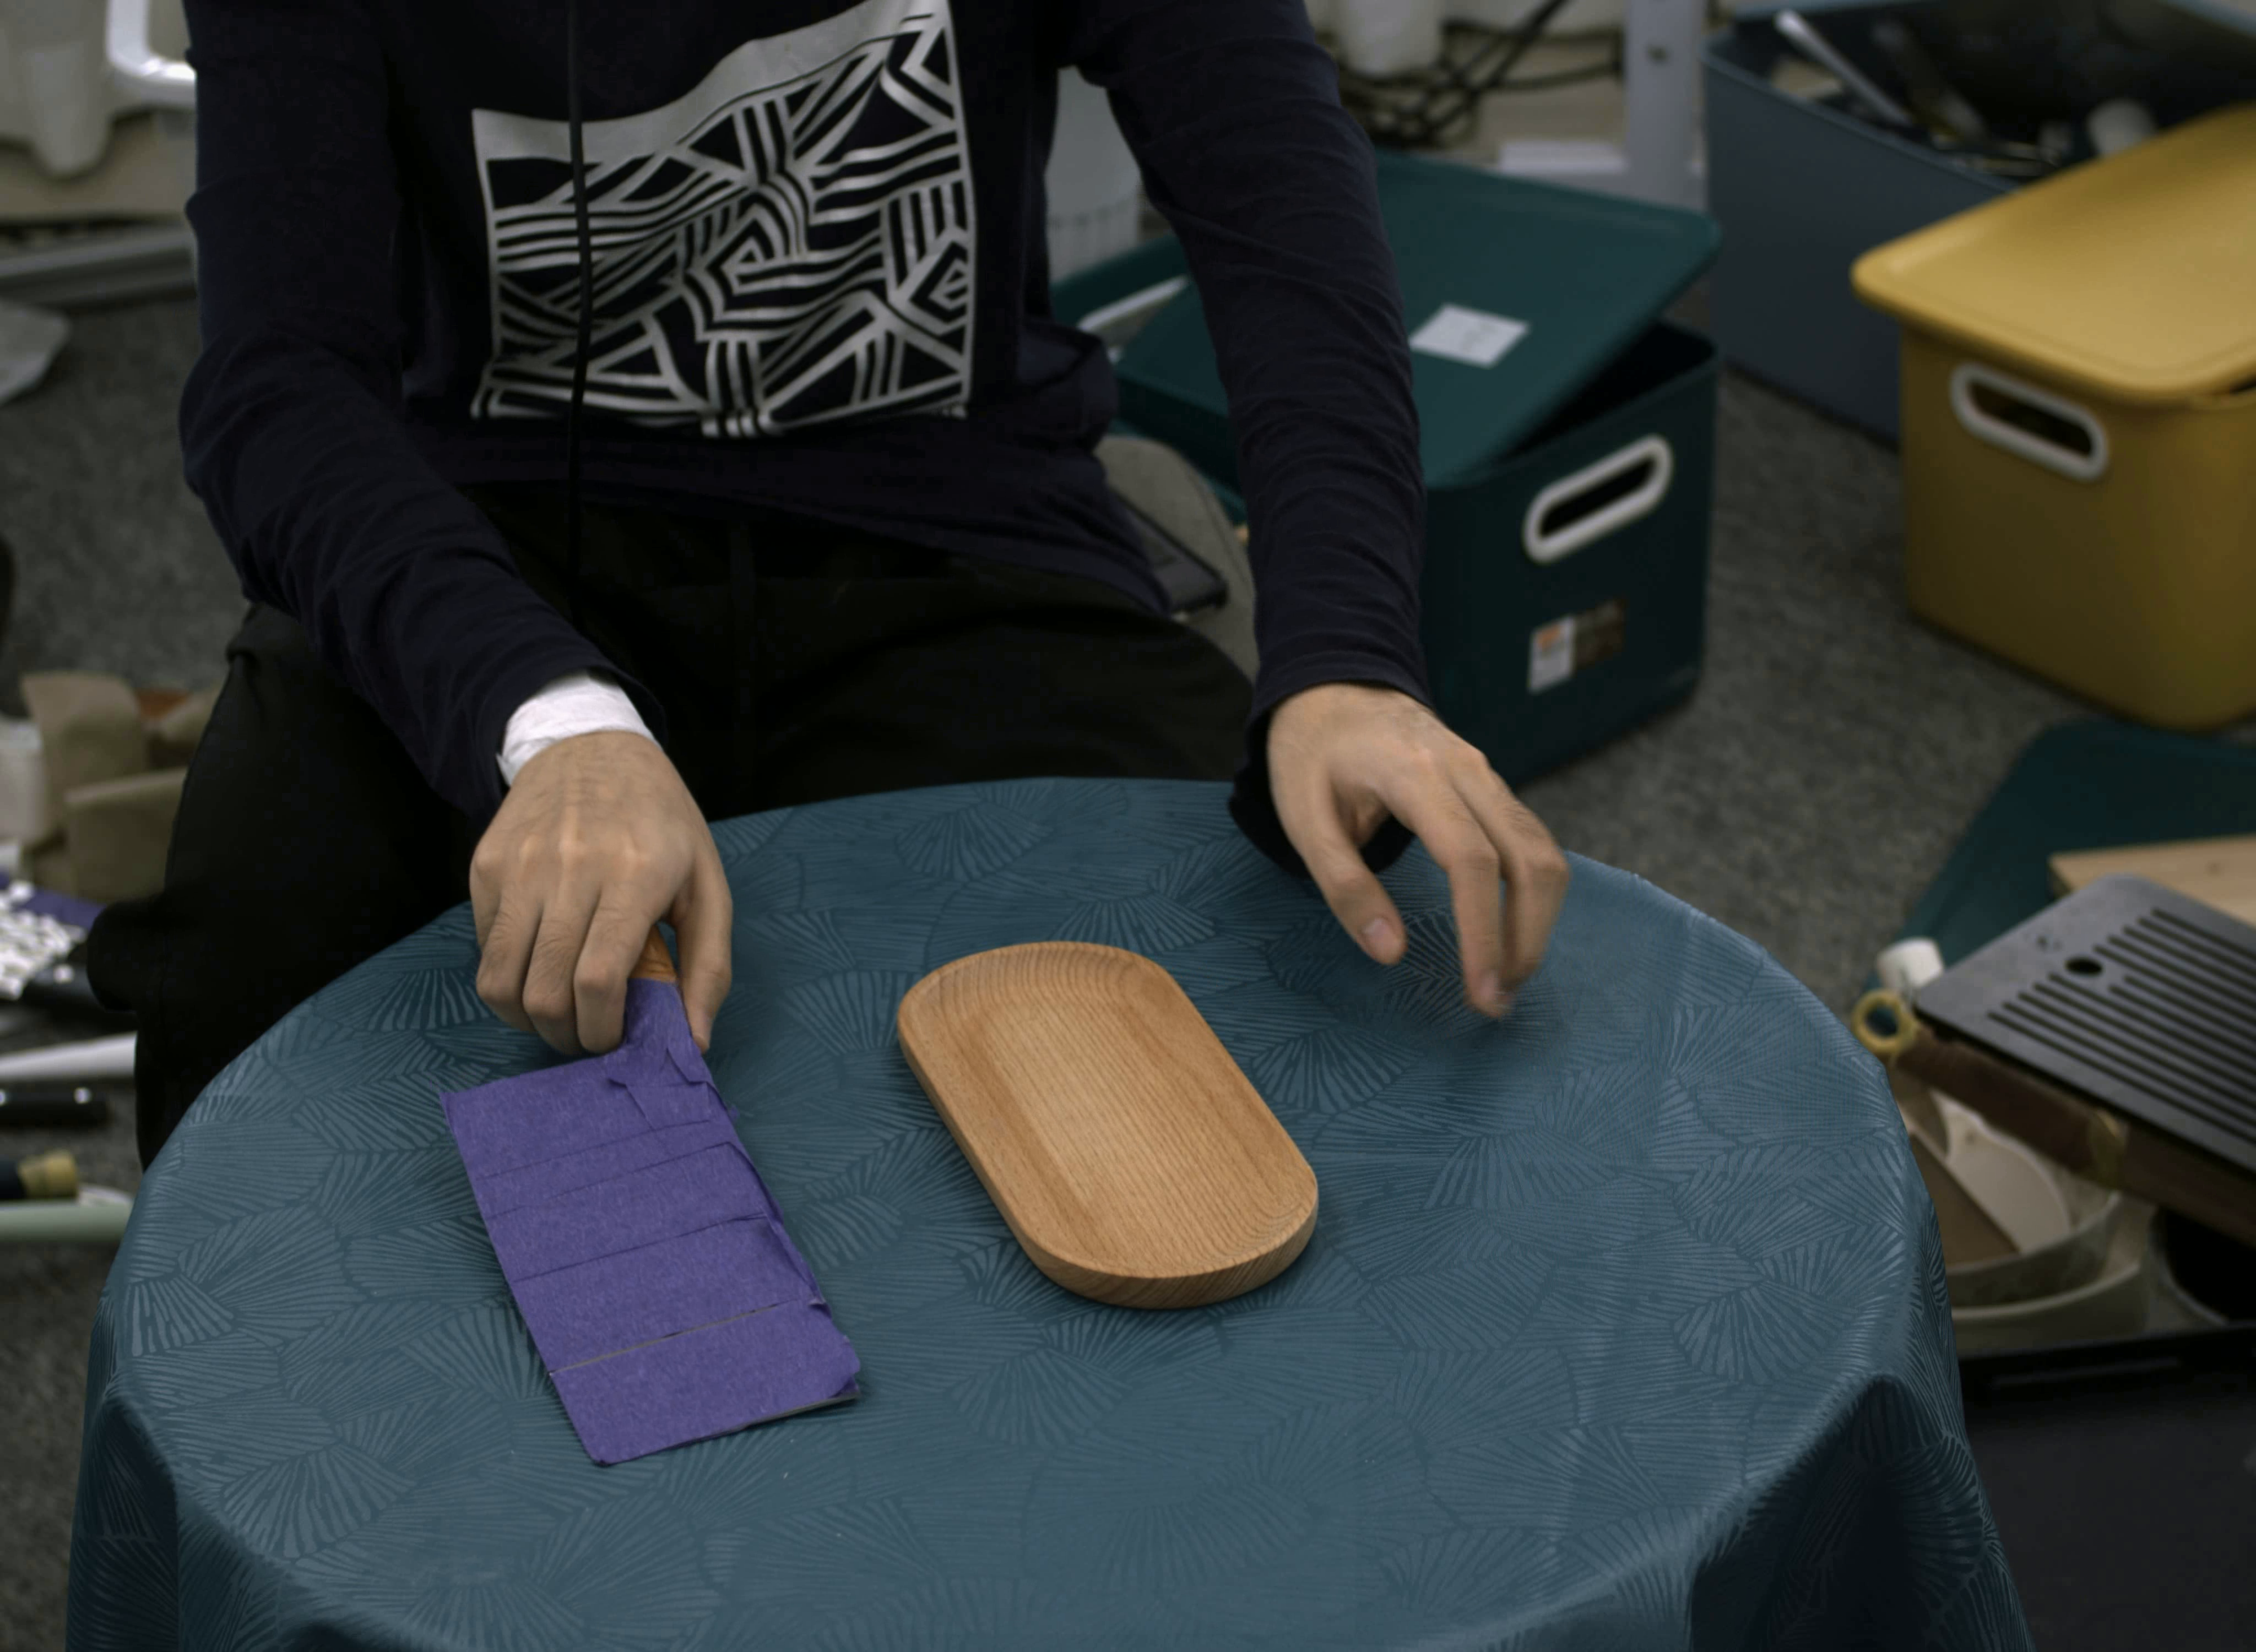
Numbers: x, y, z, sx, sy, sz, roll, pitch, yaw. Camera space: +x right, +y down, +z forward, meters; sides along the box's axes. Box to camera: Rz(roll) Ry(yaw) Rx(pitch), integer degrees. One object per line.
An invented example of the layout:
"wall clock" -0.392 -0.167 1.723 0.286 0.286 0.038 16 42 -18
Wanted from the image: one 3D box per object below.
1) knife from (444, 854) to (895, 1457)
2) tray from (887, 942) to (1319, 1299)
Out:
"knife" -0.173 0.104 1.861 0.104 0.032 0.318 -13 33 -16
"tray" -0.010 0.097 1.893 0.102 0.020 0.233 -11 26 -17
